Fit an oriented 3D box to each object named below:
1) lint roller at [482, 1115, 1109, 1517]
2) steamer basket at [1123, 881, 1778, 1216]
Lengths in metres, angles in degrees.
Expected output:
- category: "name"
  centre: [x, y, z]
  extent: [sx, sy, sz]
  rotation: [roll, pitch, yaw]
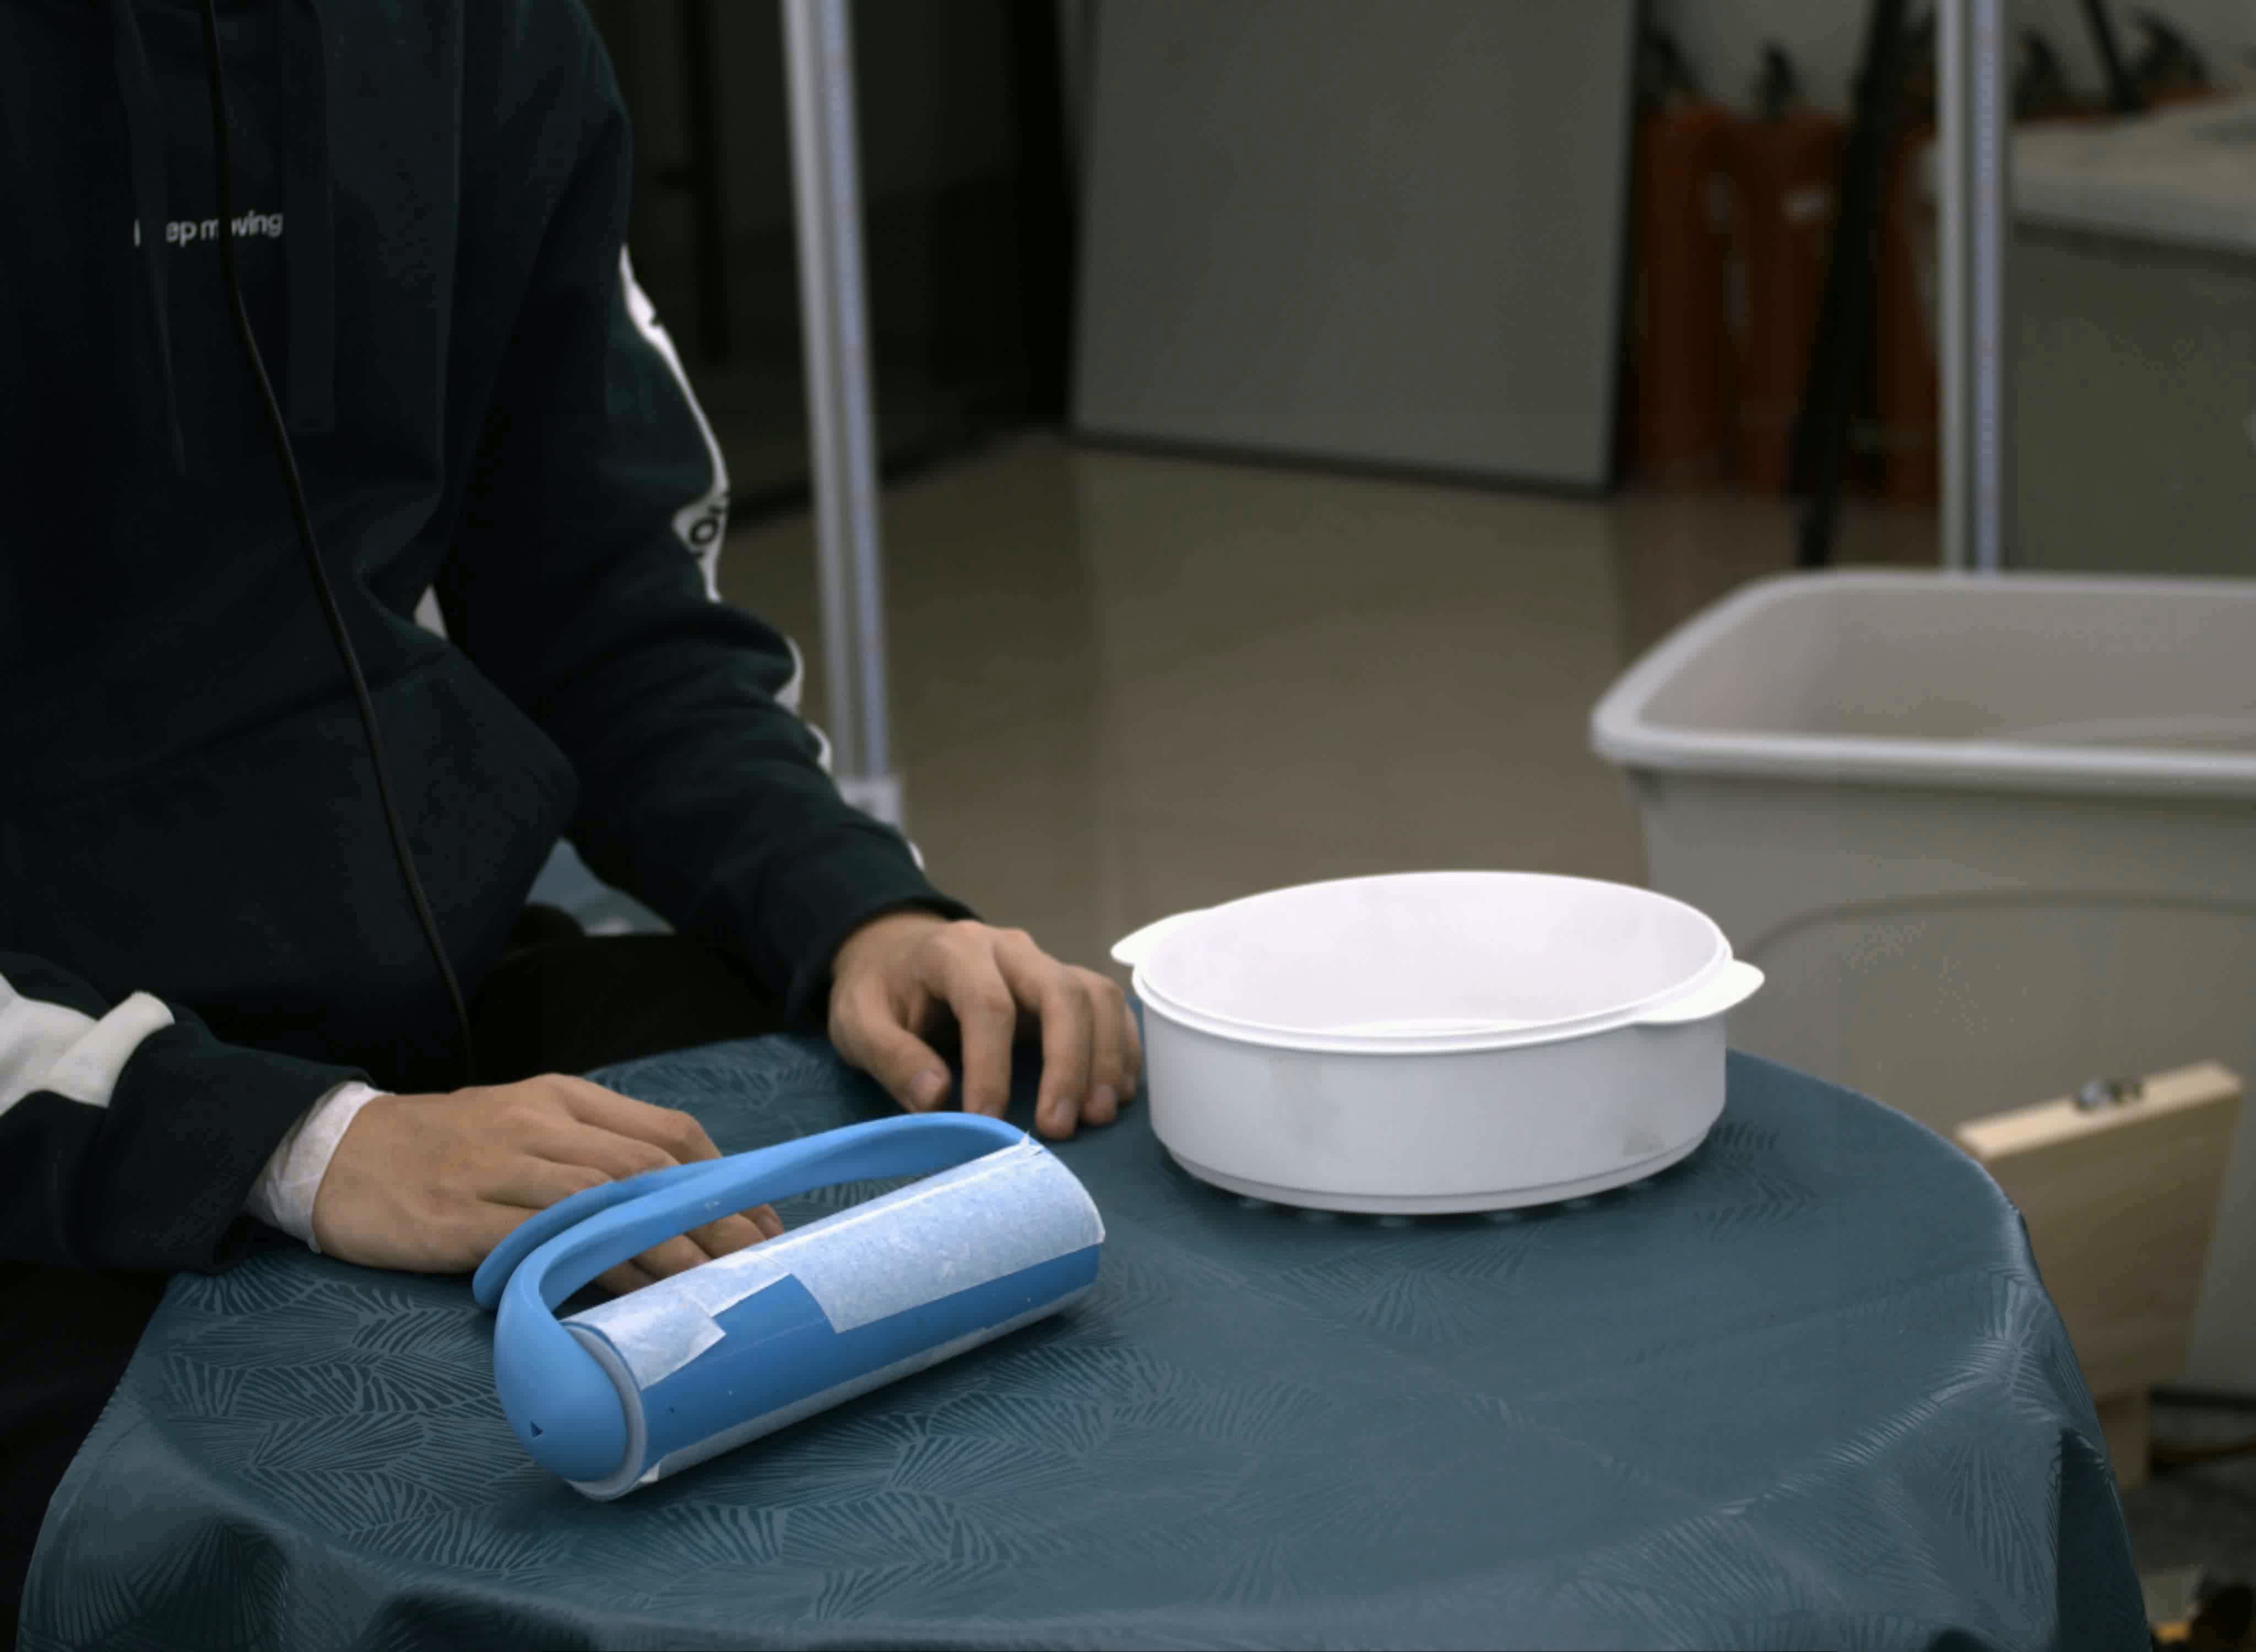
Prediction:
- category: "lint roller"
  centre: [-0.132, 0.138, 1.627]
  extent: [0.181, 0.068, 0.225]
  rotation: [8, 21, 38]
- category: "steamer basket"
  centre: [0.106, 0.073, 1.790]
  extent: [0.232, 0.070, 0.198]
  rotation: [3, 15, 32]
